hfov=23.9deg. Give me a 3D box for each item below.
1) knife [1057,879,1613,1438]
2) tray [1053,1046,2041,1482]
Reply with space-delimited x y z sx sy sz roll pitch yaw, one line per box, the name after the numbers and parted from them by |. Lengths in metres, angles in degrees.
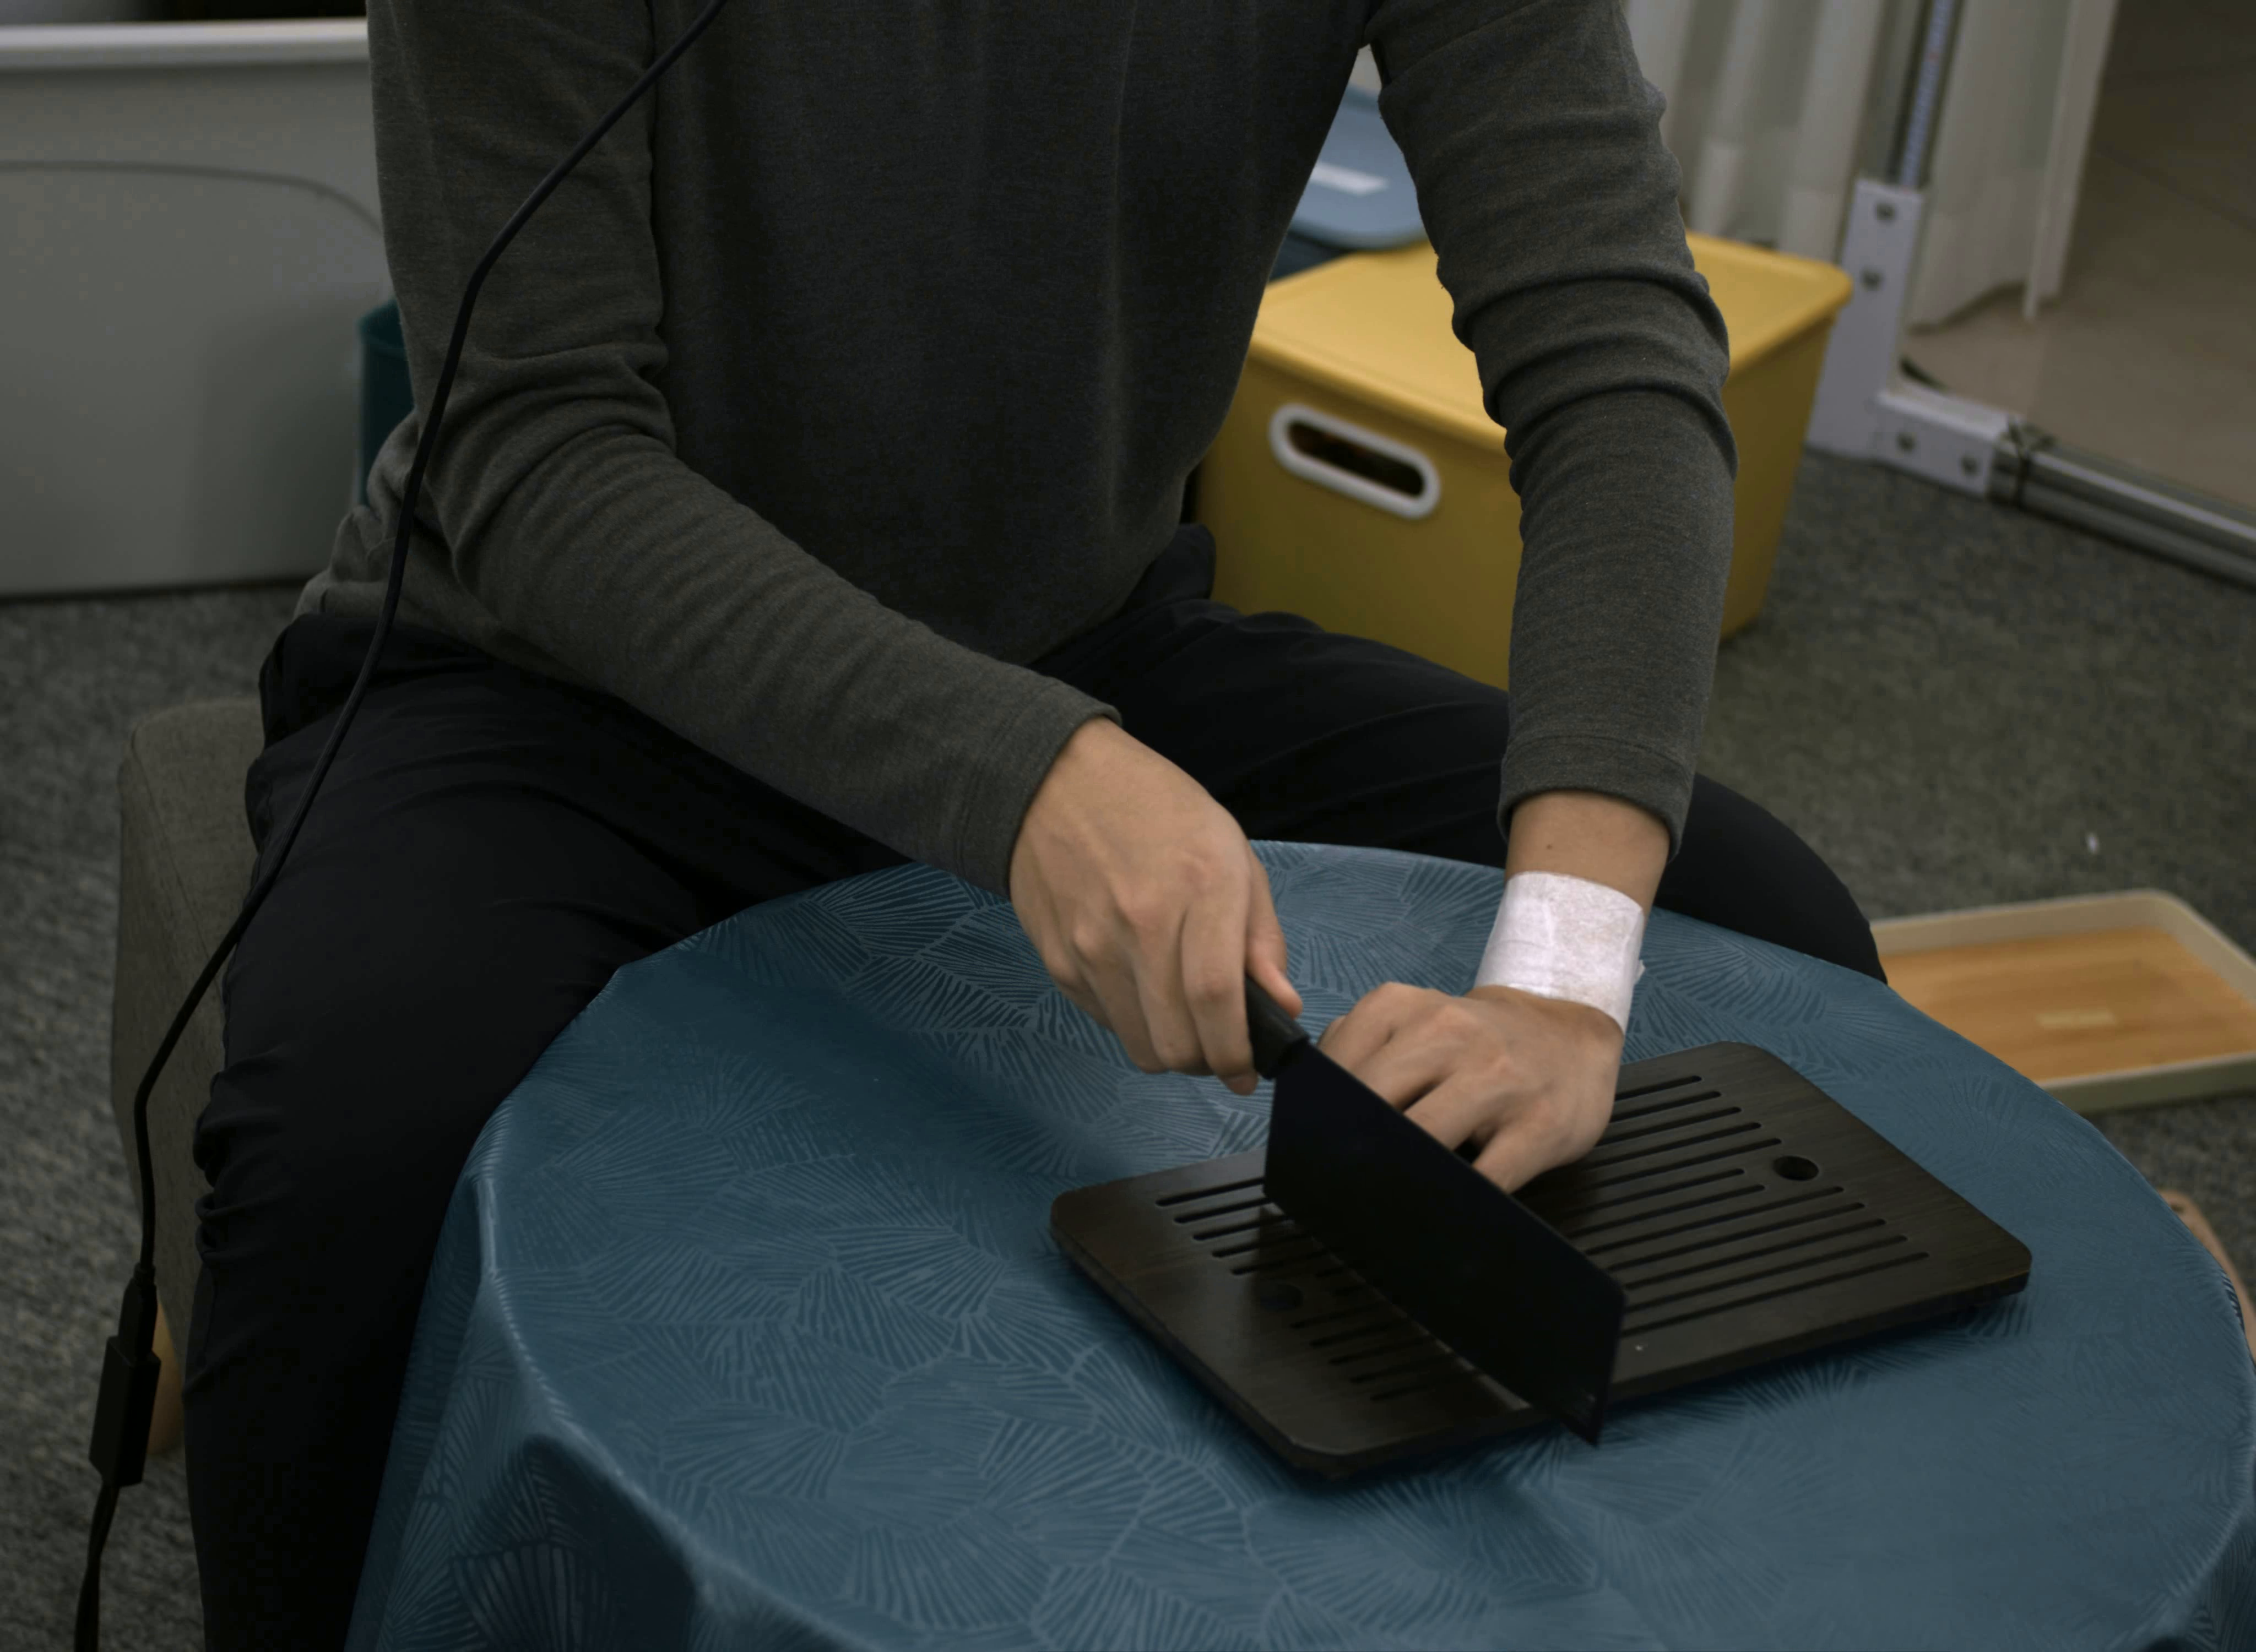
0.064 0.101 1.743 0.021 0.080 0.305 -11 35 -32 | knife
0.141 0.144 1.778 0.304 0.018 0.171 -10 30 -31 | tray
